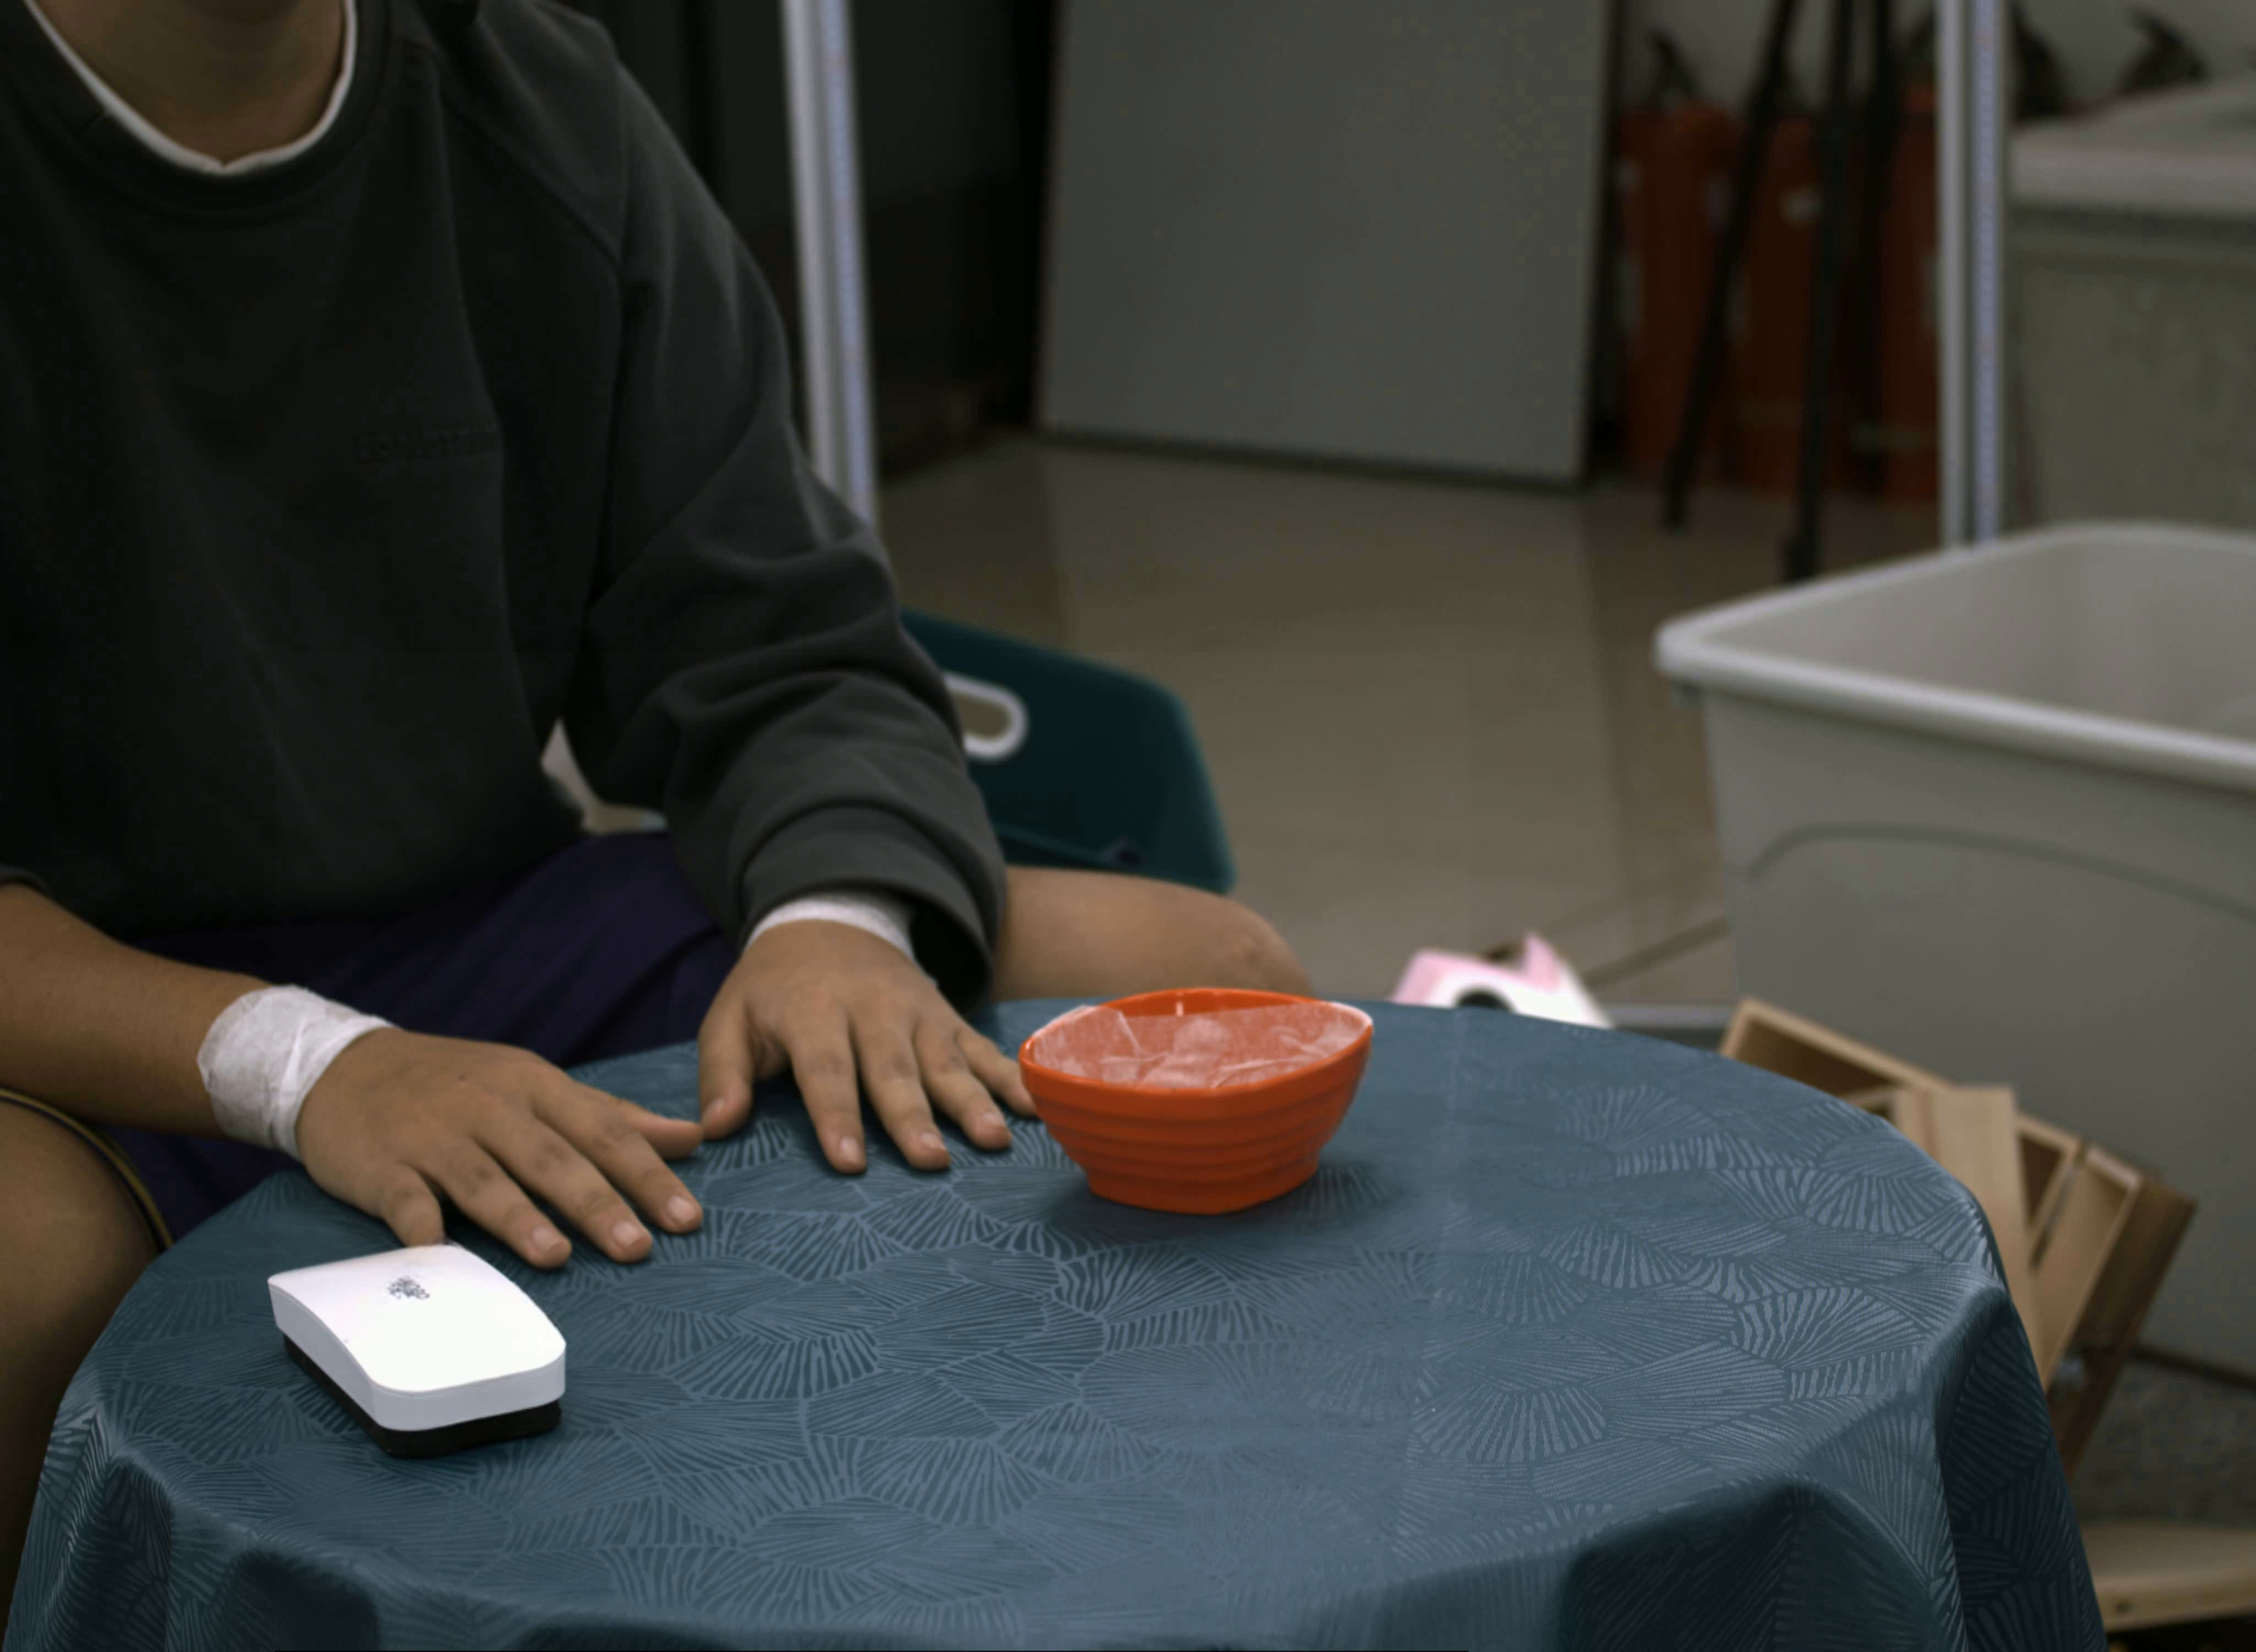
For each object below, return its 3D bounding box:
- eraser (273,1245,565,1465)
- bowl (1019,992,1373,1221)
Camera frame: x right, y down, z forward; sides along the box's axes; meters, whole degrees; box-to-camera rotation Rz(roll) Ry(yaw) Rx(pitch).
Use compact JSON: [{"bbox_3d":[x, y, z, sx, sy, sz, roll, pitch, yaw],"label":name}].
[{"bbox_3d":[-0.212,0.154,1.626,0.062,0.035,0.132,-7,16,-22],"label":"eraser"},{"bbox_3d":[0.024,0.094,1.768,0.117,0.052,0.119,-5,14,0],"label":"bowl"}]
